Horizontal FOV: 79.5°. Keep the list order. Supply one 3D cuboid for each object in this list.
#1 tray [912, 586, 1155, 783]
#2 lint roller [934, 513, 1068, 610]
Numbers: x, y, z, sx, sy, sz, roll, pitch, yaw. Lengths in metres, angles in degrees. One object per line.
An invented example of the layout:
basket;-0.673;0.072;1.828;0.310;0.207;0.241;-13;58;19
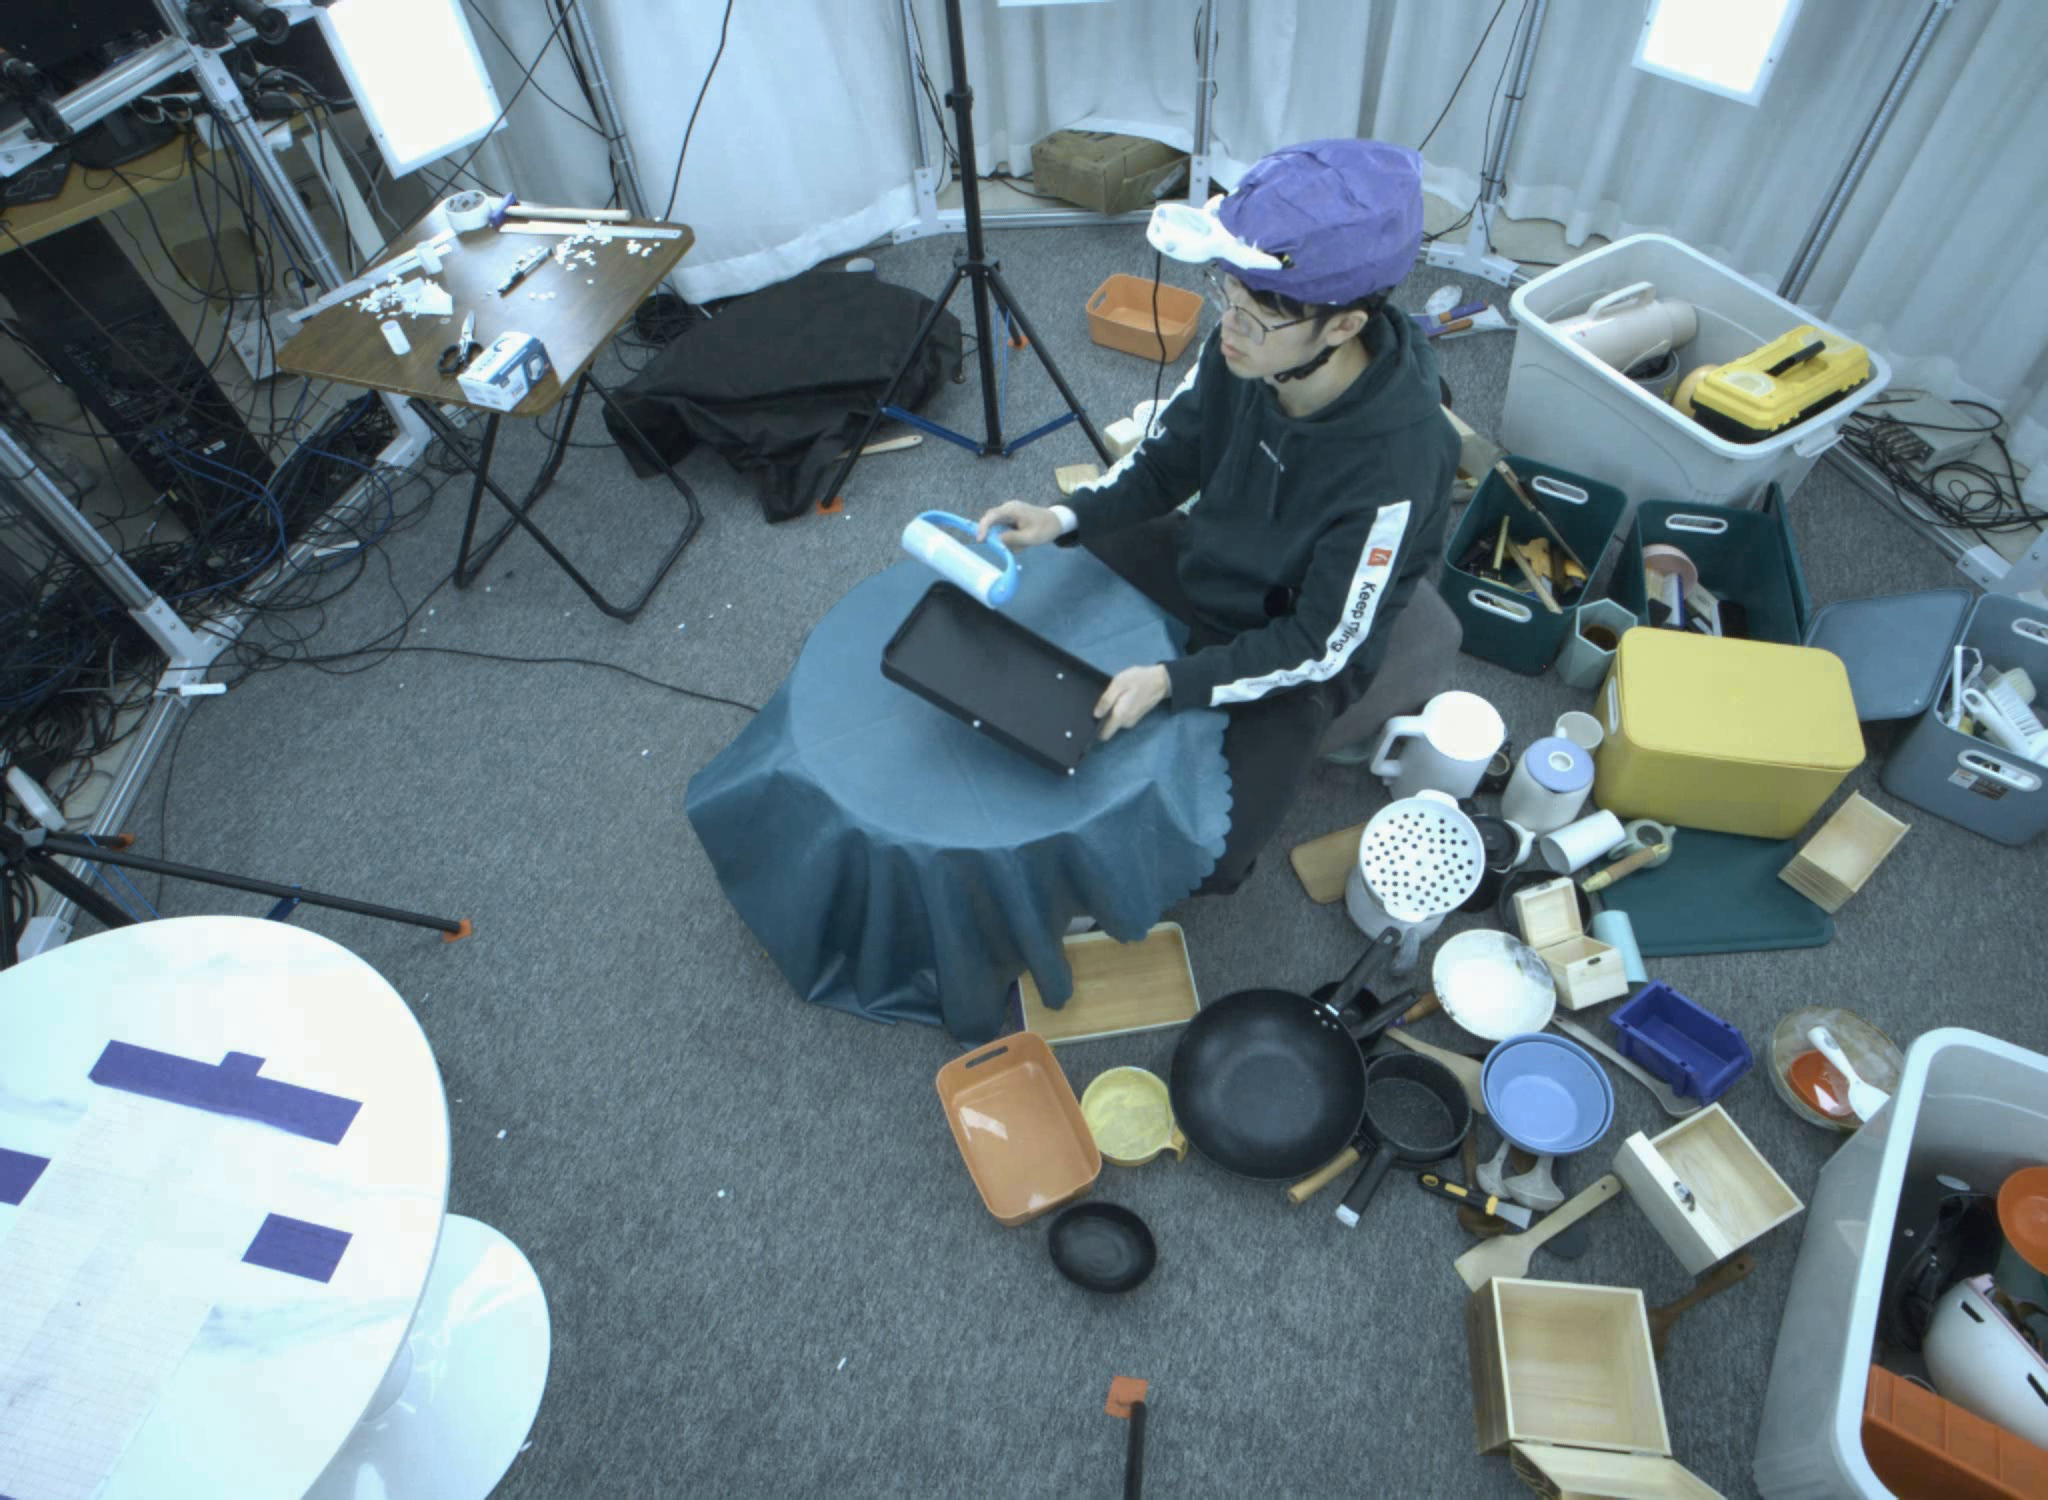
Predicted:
tray;0.015;-0.094;1.728;0.318;0.037;0.184;30;54;0
lint roller;-0.009;-0.296;1.800;0.182;0.068;0.224;-31;51;-31
